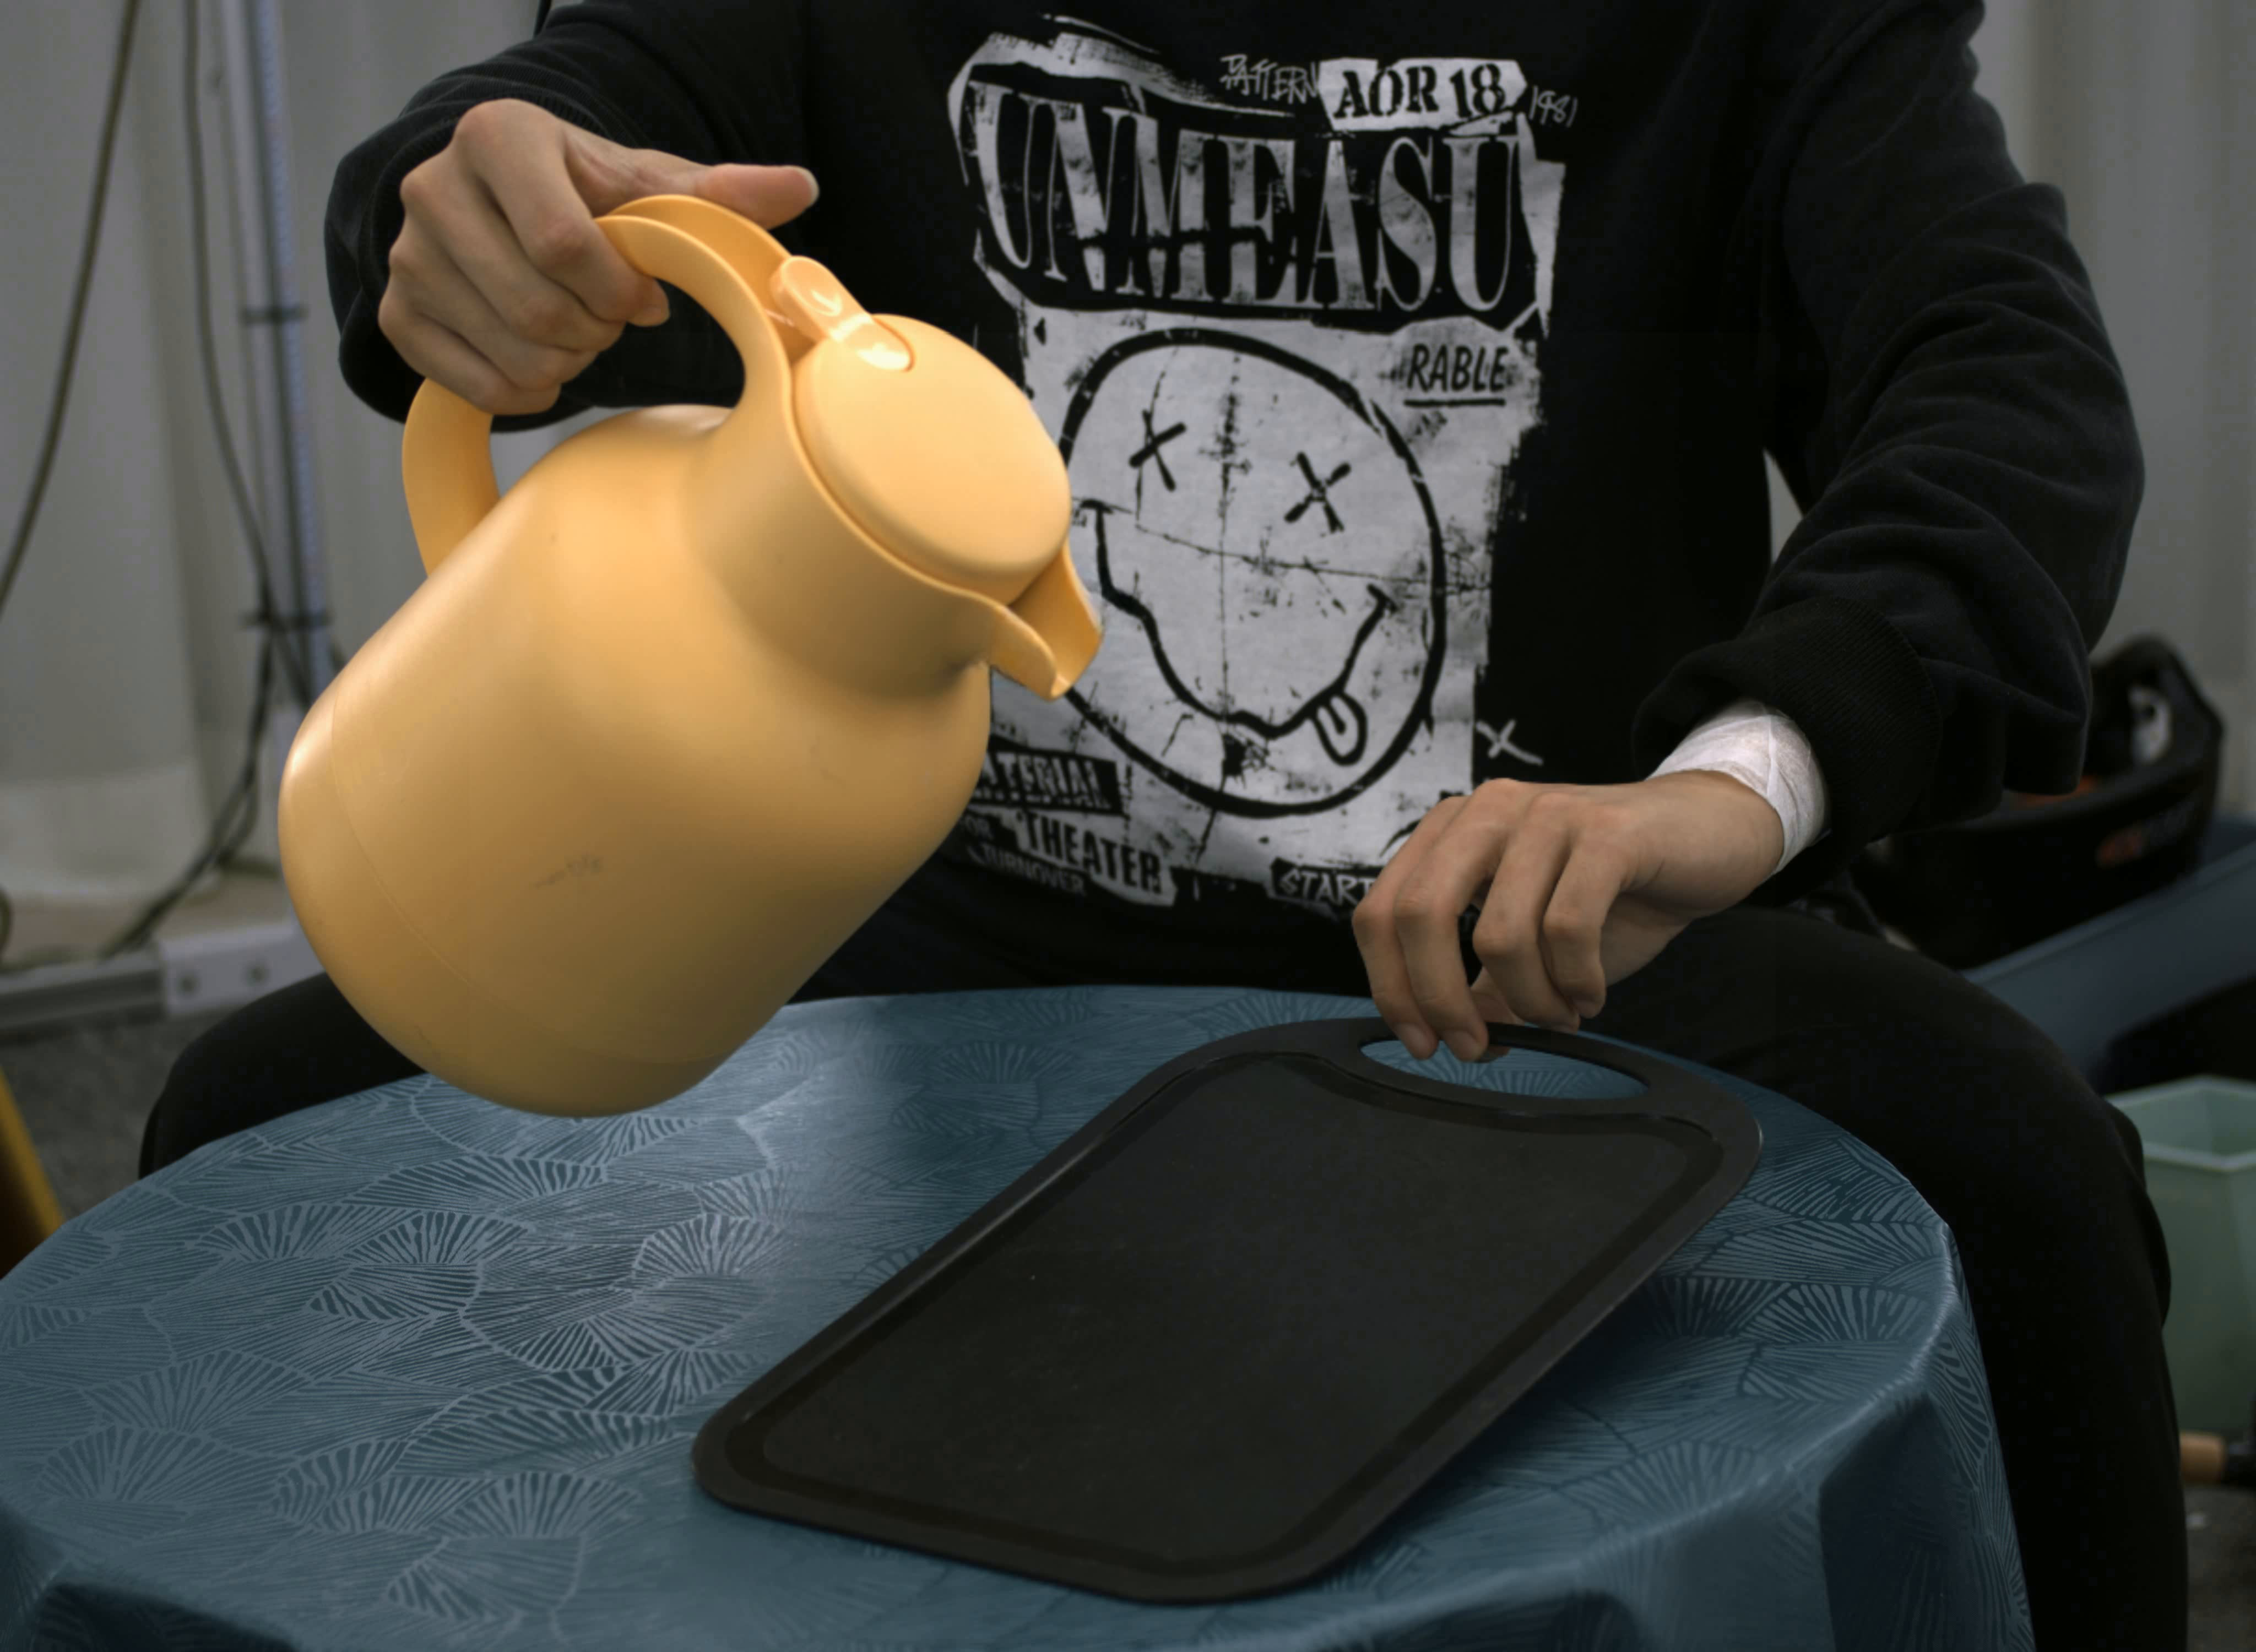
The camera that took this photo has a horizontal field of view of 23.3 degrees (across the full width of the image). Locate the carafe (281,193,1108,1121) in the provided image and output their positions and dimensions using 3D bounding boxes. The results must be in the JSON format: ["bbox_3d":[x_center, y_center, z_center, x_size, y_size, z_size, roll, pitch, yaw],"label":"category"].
[{"bbox_3d":[-0.132,-0.054,1.580,0.259,0.203,0.164,-43,-9,34],"label":"carafe"}]

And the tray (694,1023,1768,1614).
[{"bbox_3d":[0.037,0.127,1.550,0.212,0.010,0.326,9,28,34],"label":"tray"}]
